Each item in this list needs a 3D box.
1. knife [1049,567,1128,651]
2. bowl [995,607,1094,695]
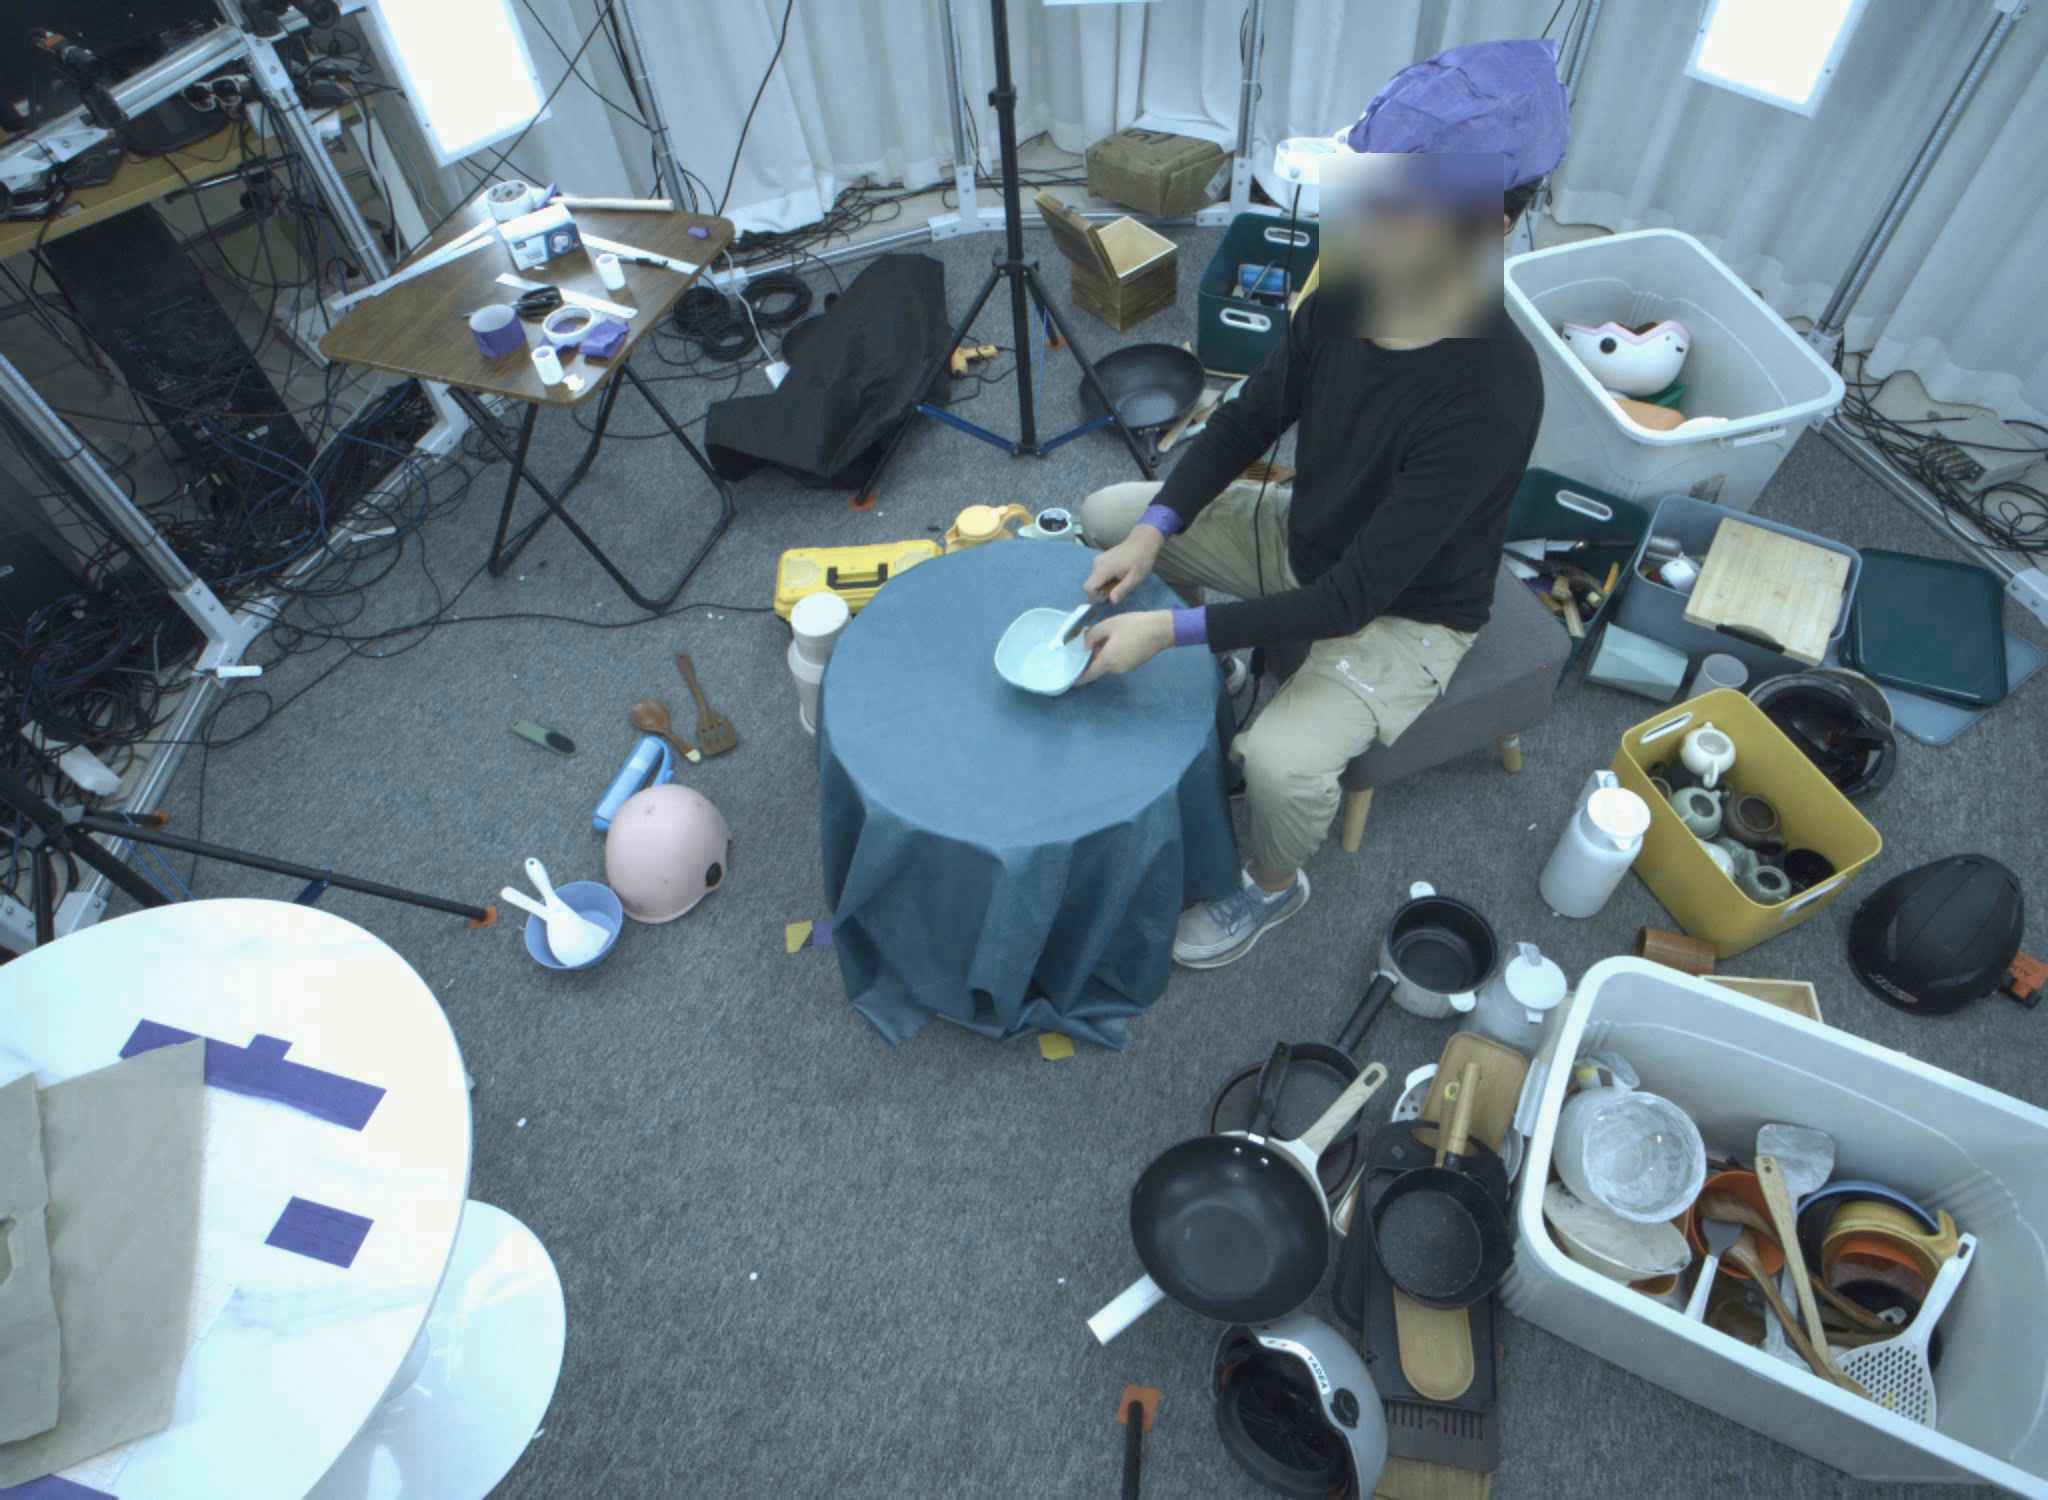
[{"bbox_3d":[0.098,-0.210,1.827,0.049,0.020,0.290,-6,27,31],"label":"knife"},{"bbox_3d":[0.035,-0.137,1.832,0.150,0.059,0.150,-4,62,10],"label":"bowl"}]
